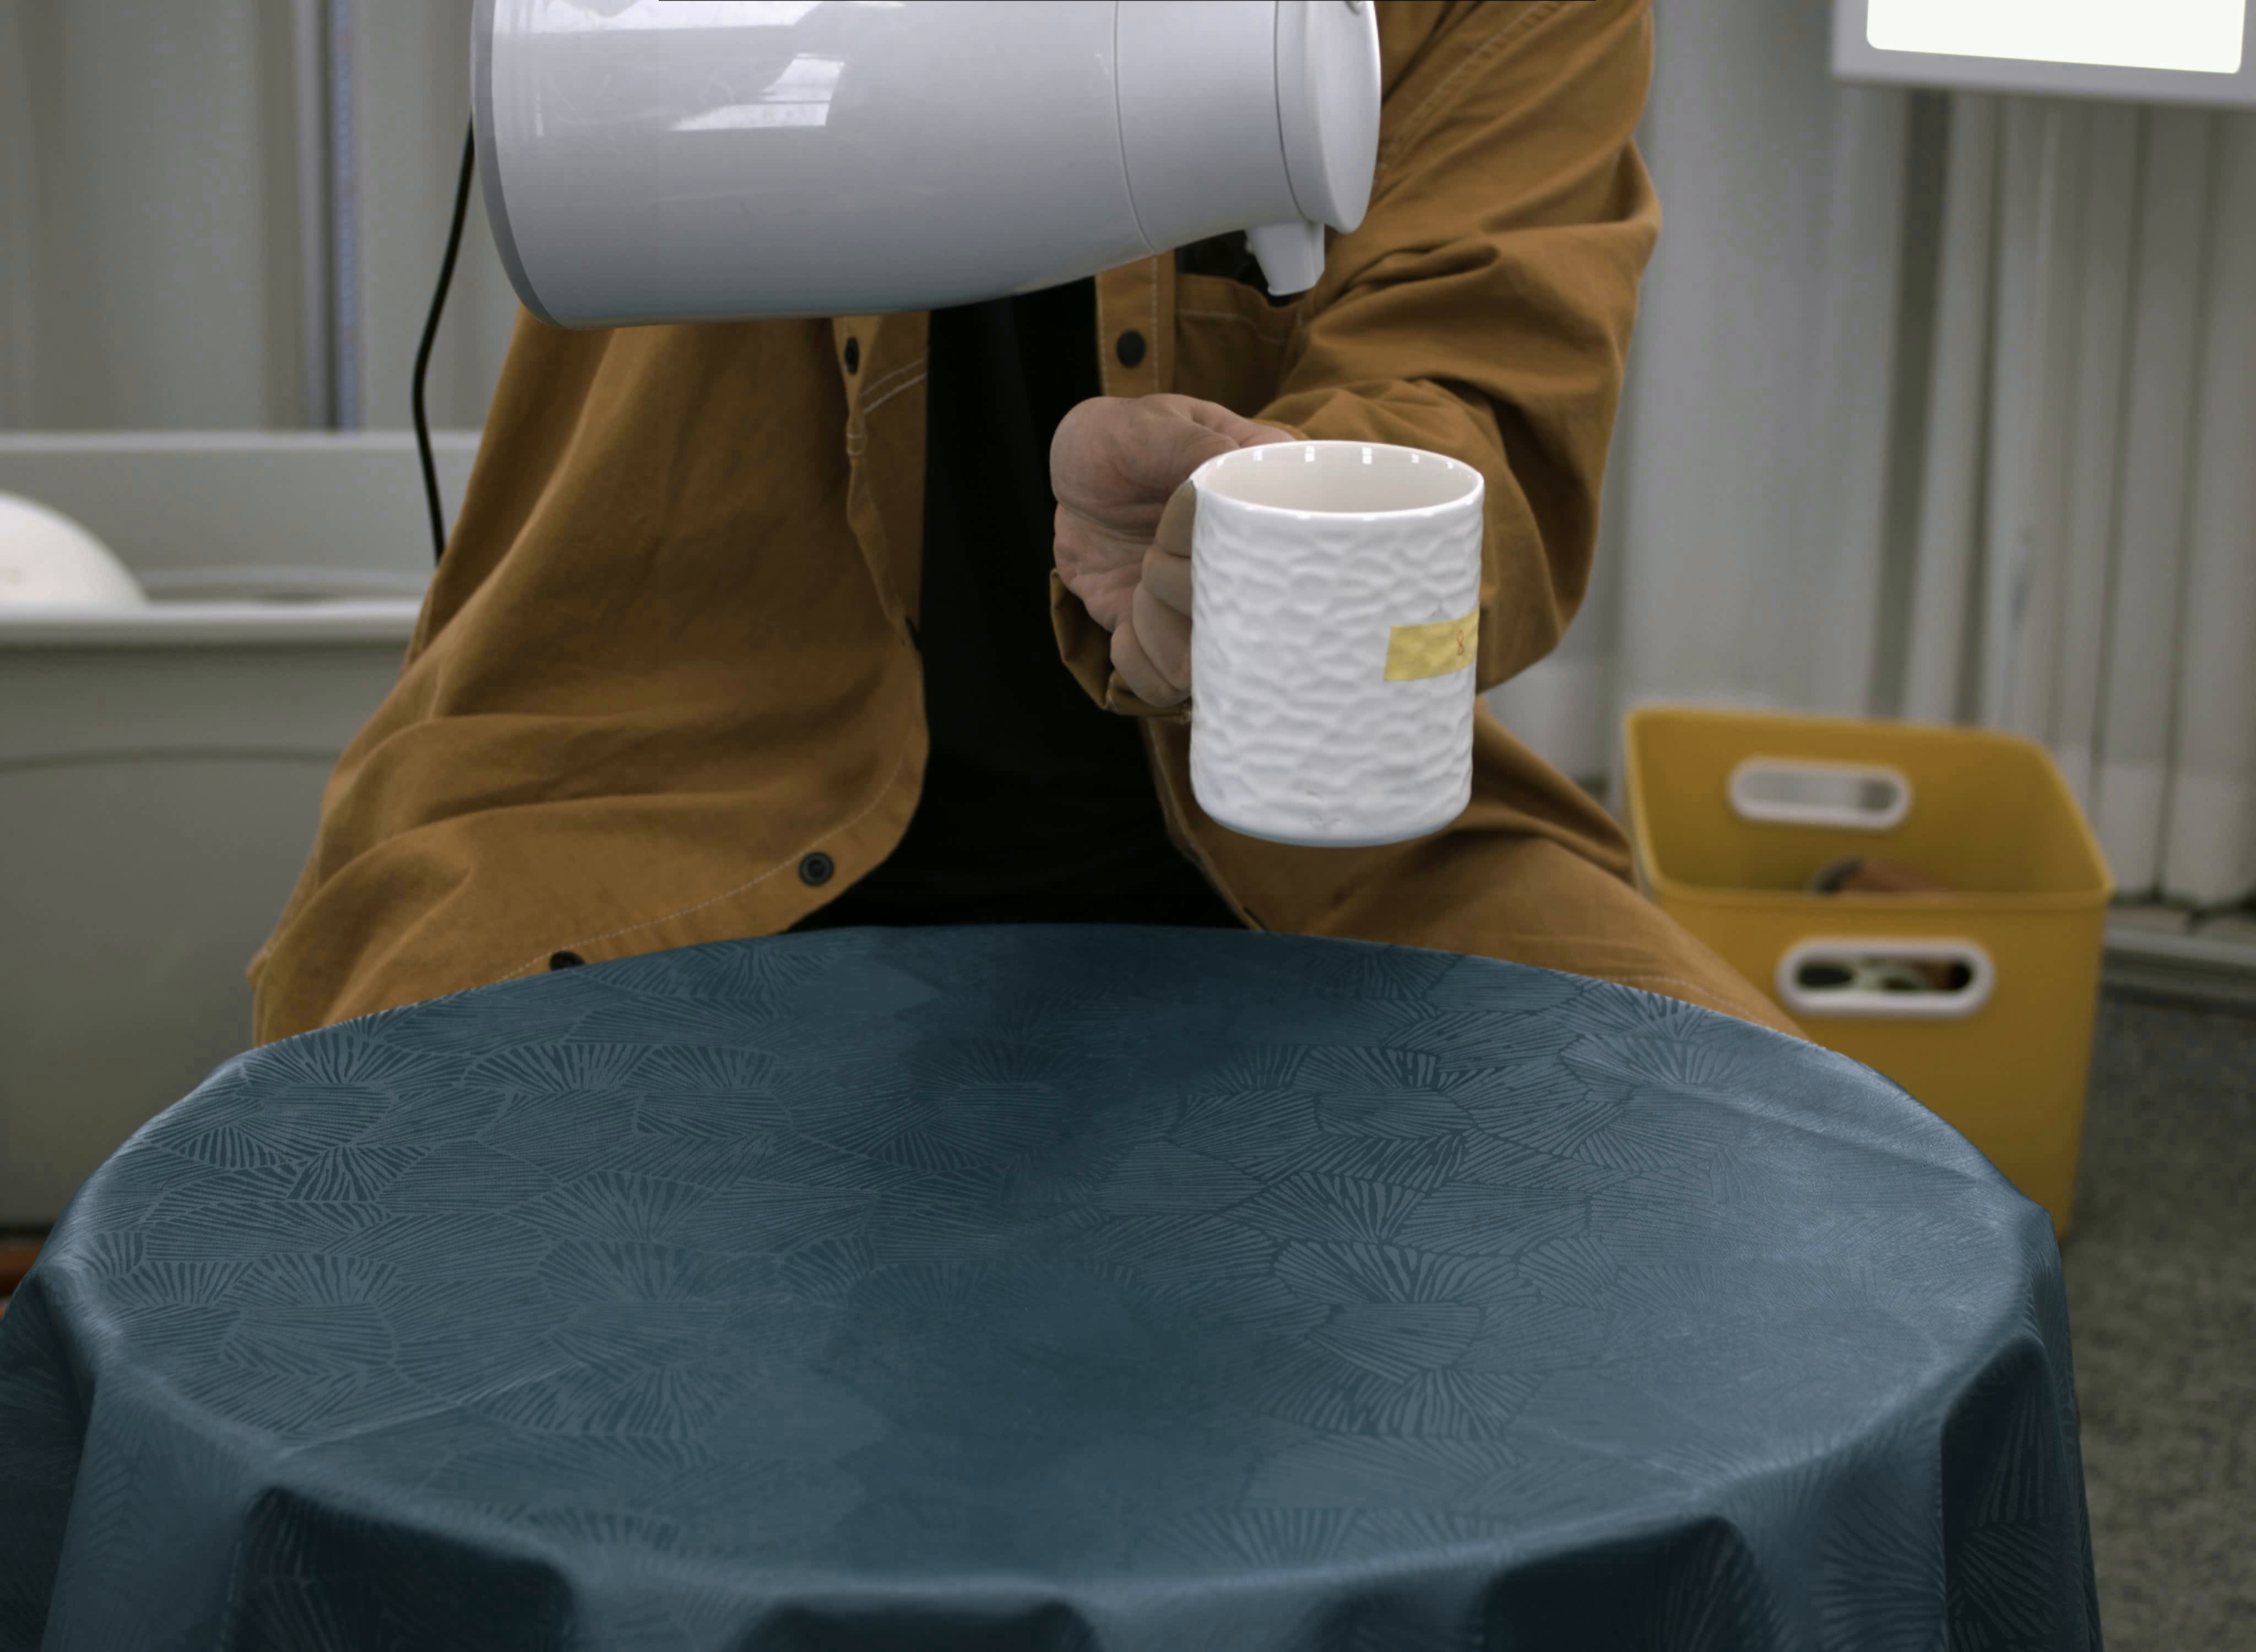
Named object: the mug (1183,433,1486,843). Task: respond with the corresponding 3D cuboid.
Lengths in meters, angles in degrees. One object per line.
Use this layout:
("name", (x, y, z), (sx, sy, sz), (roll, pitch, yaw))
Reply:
("mug", (0.052, -0.060, 1.553), (0.085, 0.103, 0.116), (-10, 22, -31))

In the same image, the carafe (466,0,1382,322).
("carafe", (-0.054, -0.231, 1.503), (0.247, 0.169, 0.132), (0, 25, 14))
